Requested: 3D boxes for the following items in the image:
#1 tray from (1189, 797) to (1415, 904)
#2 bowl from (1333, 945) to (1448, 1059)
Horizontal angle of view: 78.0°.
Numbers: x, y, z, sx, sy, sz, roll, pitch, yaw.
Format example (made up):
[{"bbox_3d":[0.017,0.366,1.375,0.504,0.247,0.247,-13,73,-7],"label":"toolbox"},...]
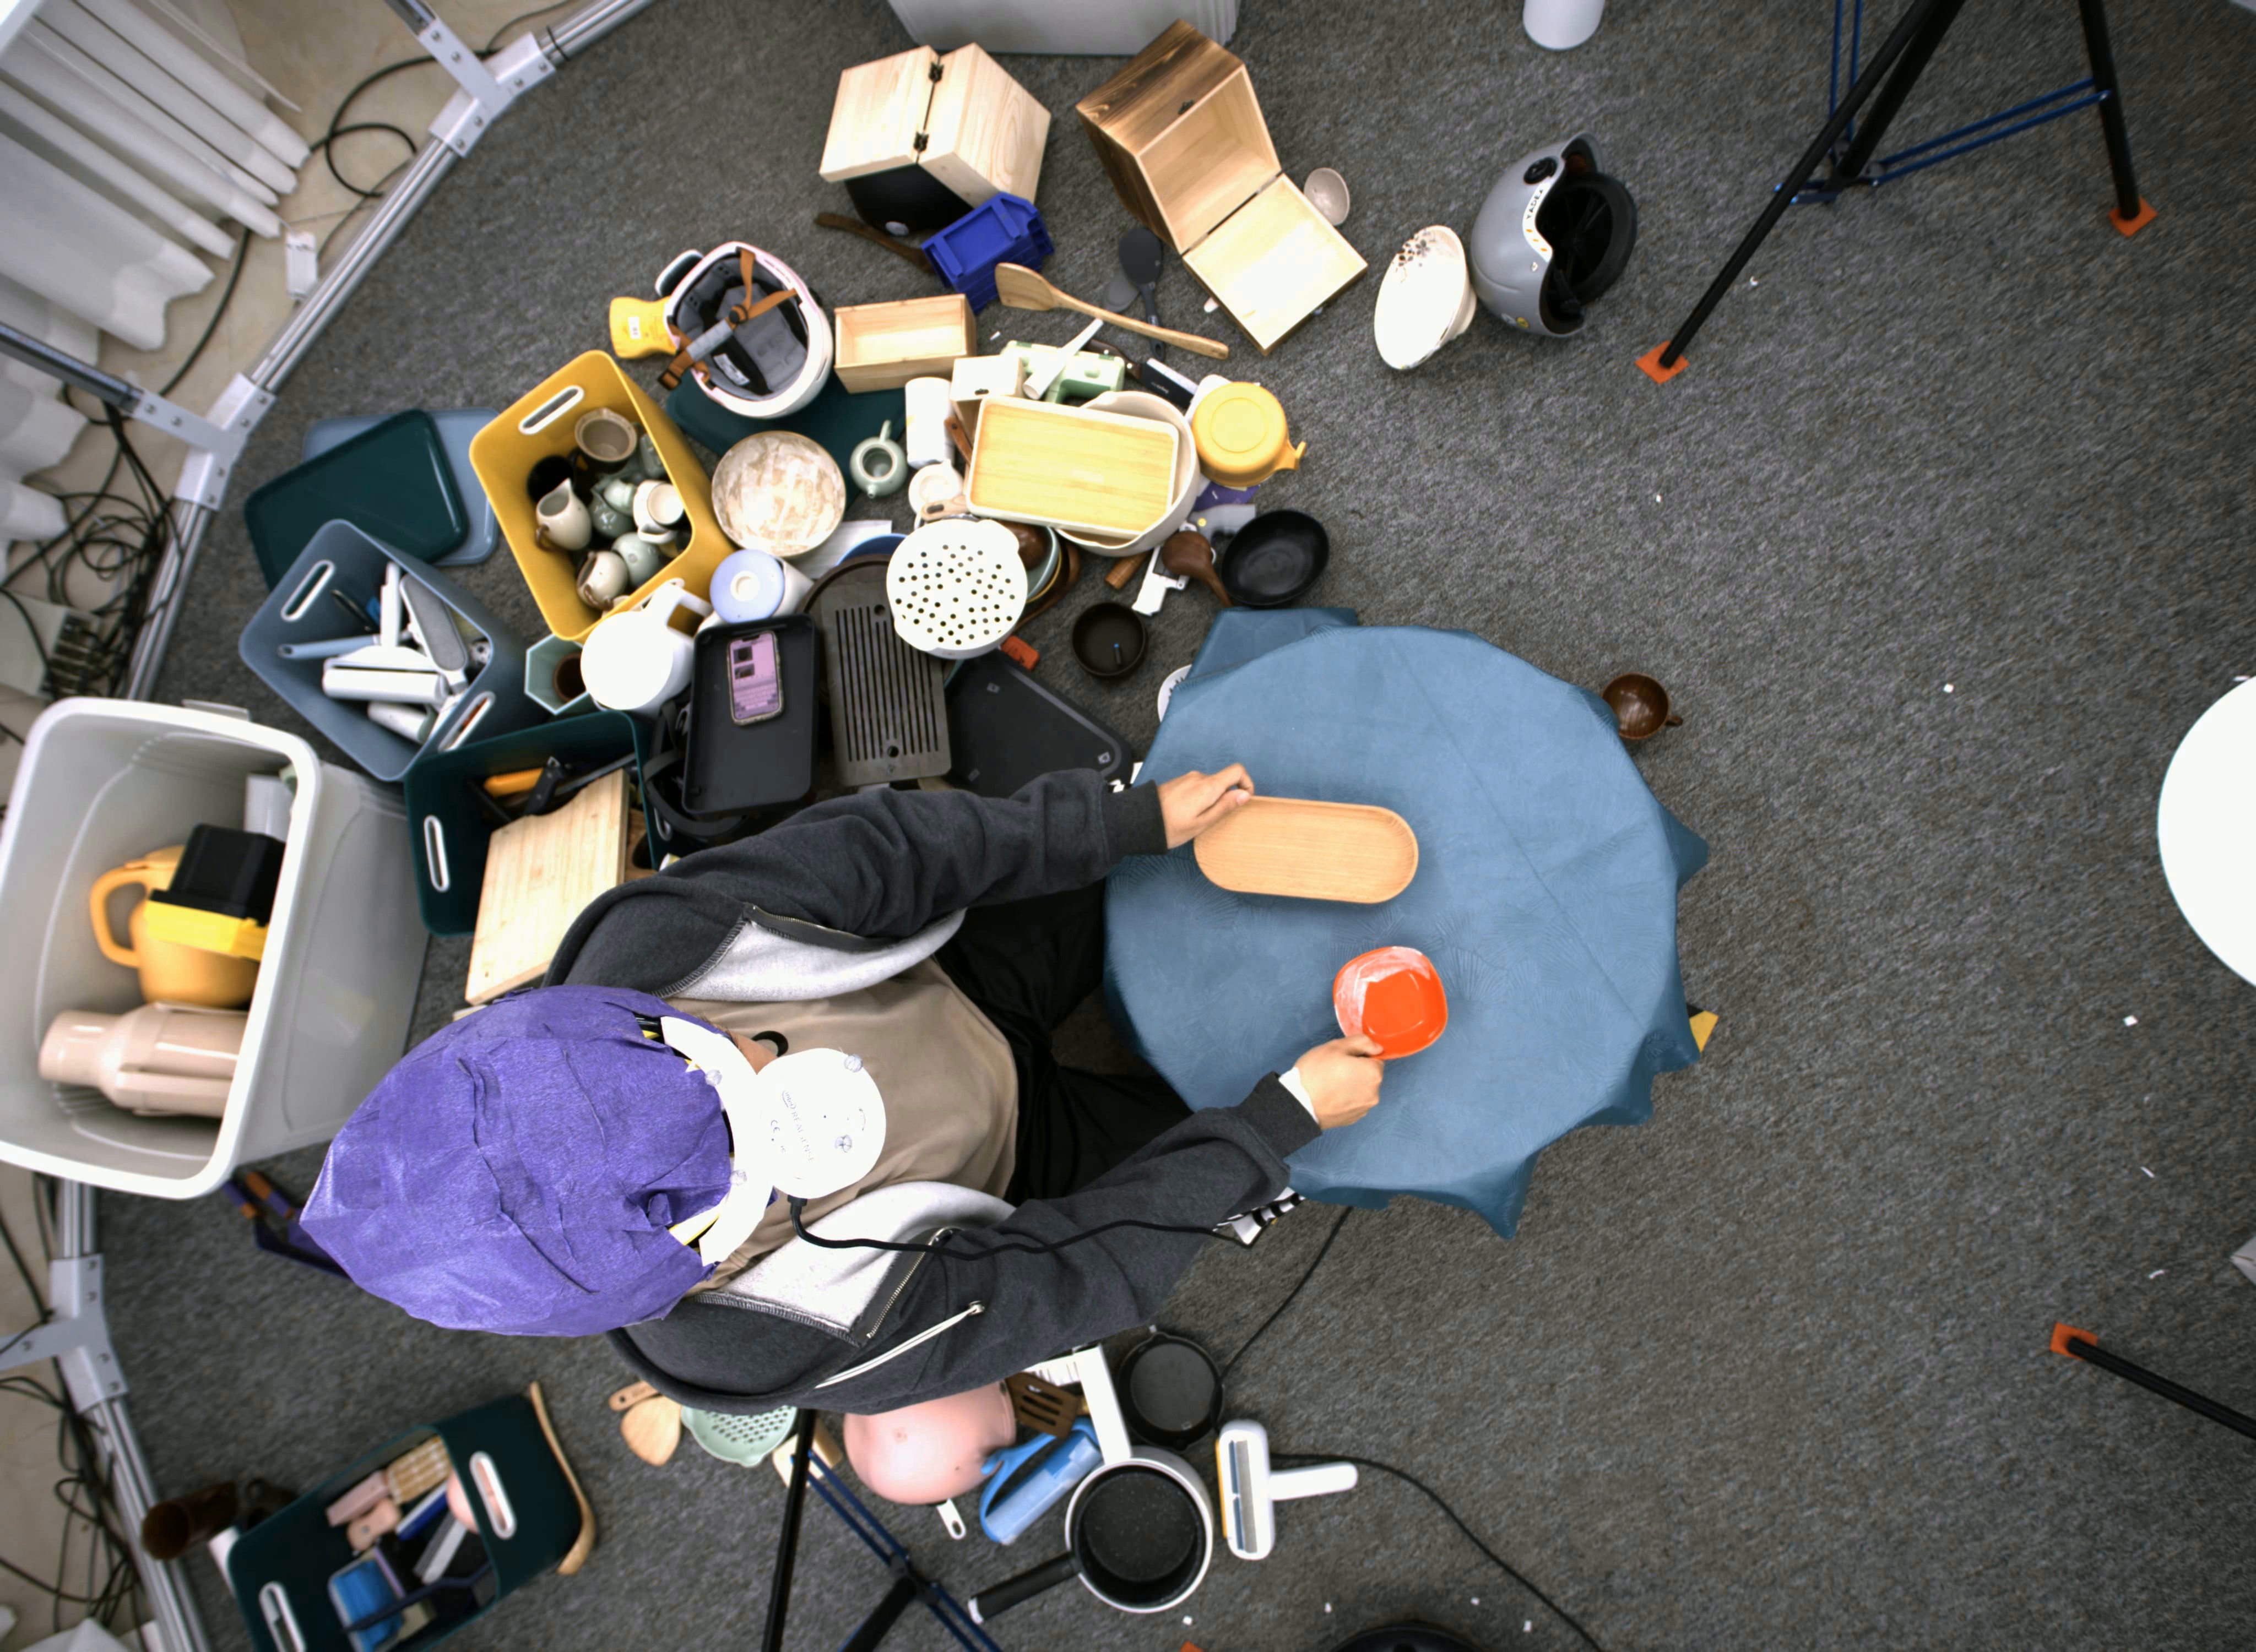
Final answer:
[{"bbox_3d":[0.179,0.025,1.426,0.232,0.020,0.102,3,92,6],"label":"tray"},{"bbox_3d":[0.267,0.178,1.405,0.119,0.051,0.118,-1,85,12],"label":"bowl"}]
